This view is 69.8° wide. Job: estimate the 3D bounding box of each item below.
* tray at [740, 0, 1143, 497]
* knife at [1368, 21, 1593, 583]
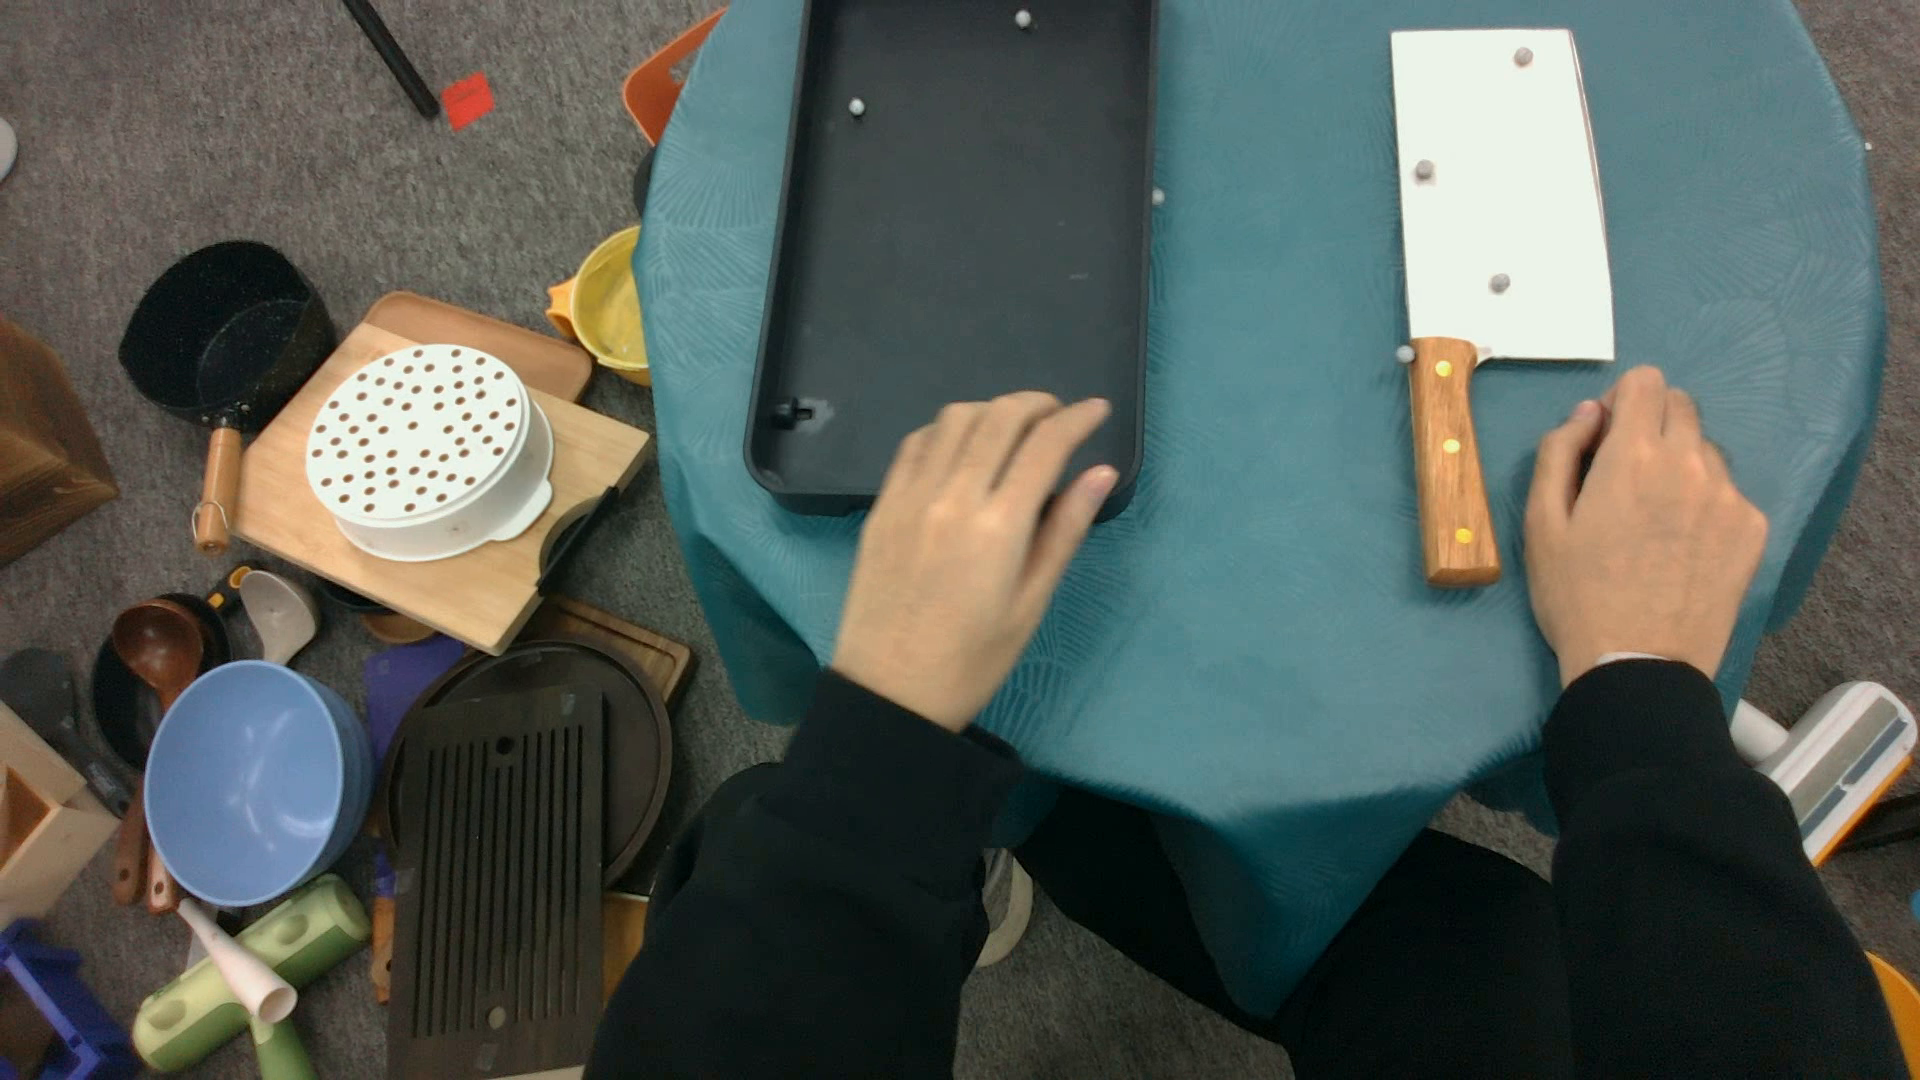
[{"bbox_3d":[-0.004,-0.173,0.683,0.184,0.037,0.319,0,70,6],"label":"tray"},{"bbox_3d":[0.246,-0.123,0.646,0.093,0.021,0.307,1,67,5],"label":"knife"}]
